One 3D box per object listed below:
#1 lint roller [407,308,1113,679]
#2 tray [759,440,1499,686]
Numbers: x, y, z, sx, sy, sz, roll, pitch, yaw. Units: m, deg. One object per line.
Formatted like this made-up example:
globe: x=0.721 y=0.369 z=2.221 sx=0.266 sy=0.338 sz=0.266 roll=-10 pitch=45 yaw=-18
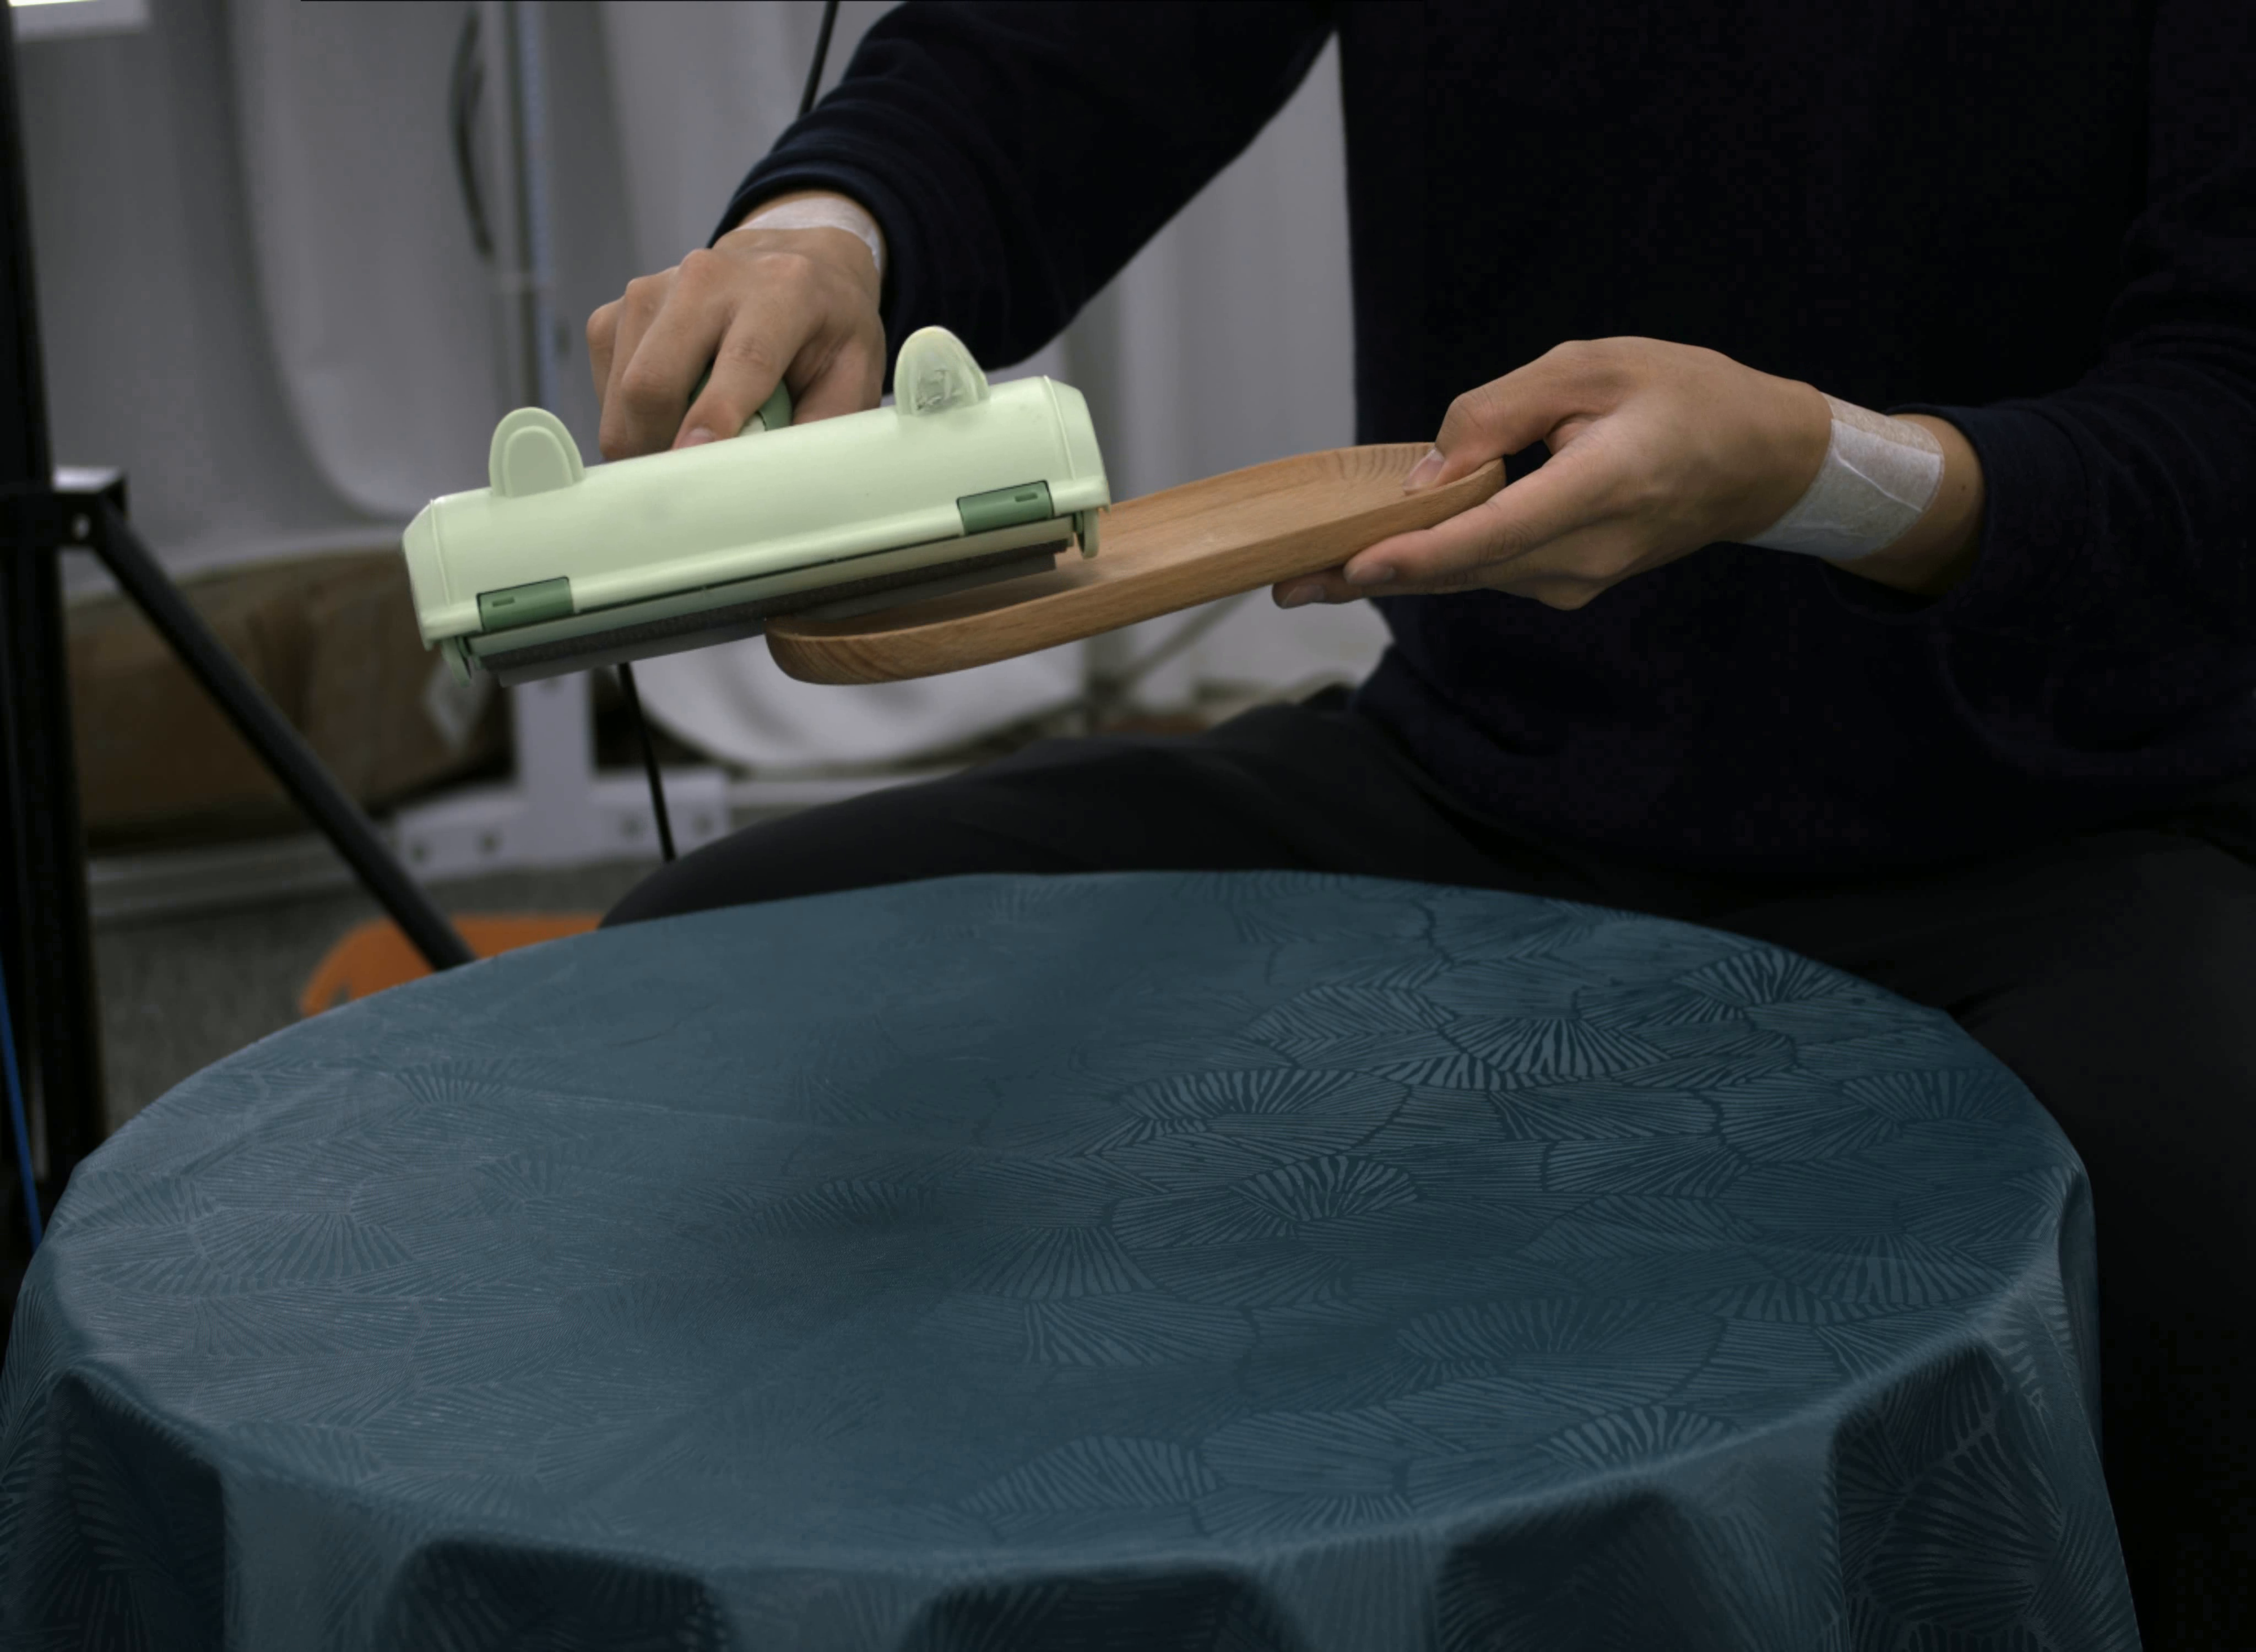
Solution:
lint roller: x=-0.114 y=-0.123 z=1.542 sx=0.197 sy=0.081 sz=0.186 roll=-12 pitch=37 yaw=-3
tray: x=0.003 y=-0.076 z=1.518 sx=0.227 sy=0.020 sz=0.103 roll=-19 pitch=14 yaw=-25
